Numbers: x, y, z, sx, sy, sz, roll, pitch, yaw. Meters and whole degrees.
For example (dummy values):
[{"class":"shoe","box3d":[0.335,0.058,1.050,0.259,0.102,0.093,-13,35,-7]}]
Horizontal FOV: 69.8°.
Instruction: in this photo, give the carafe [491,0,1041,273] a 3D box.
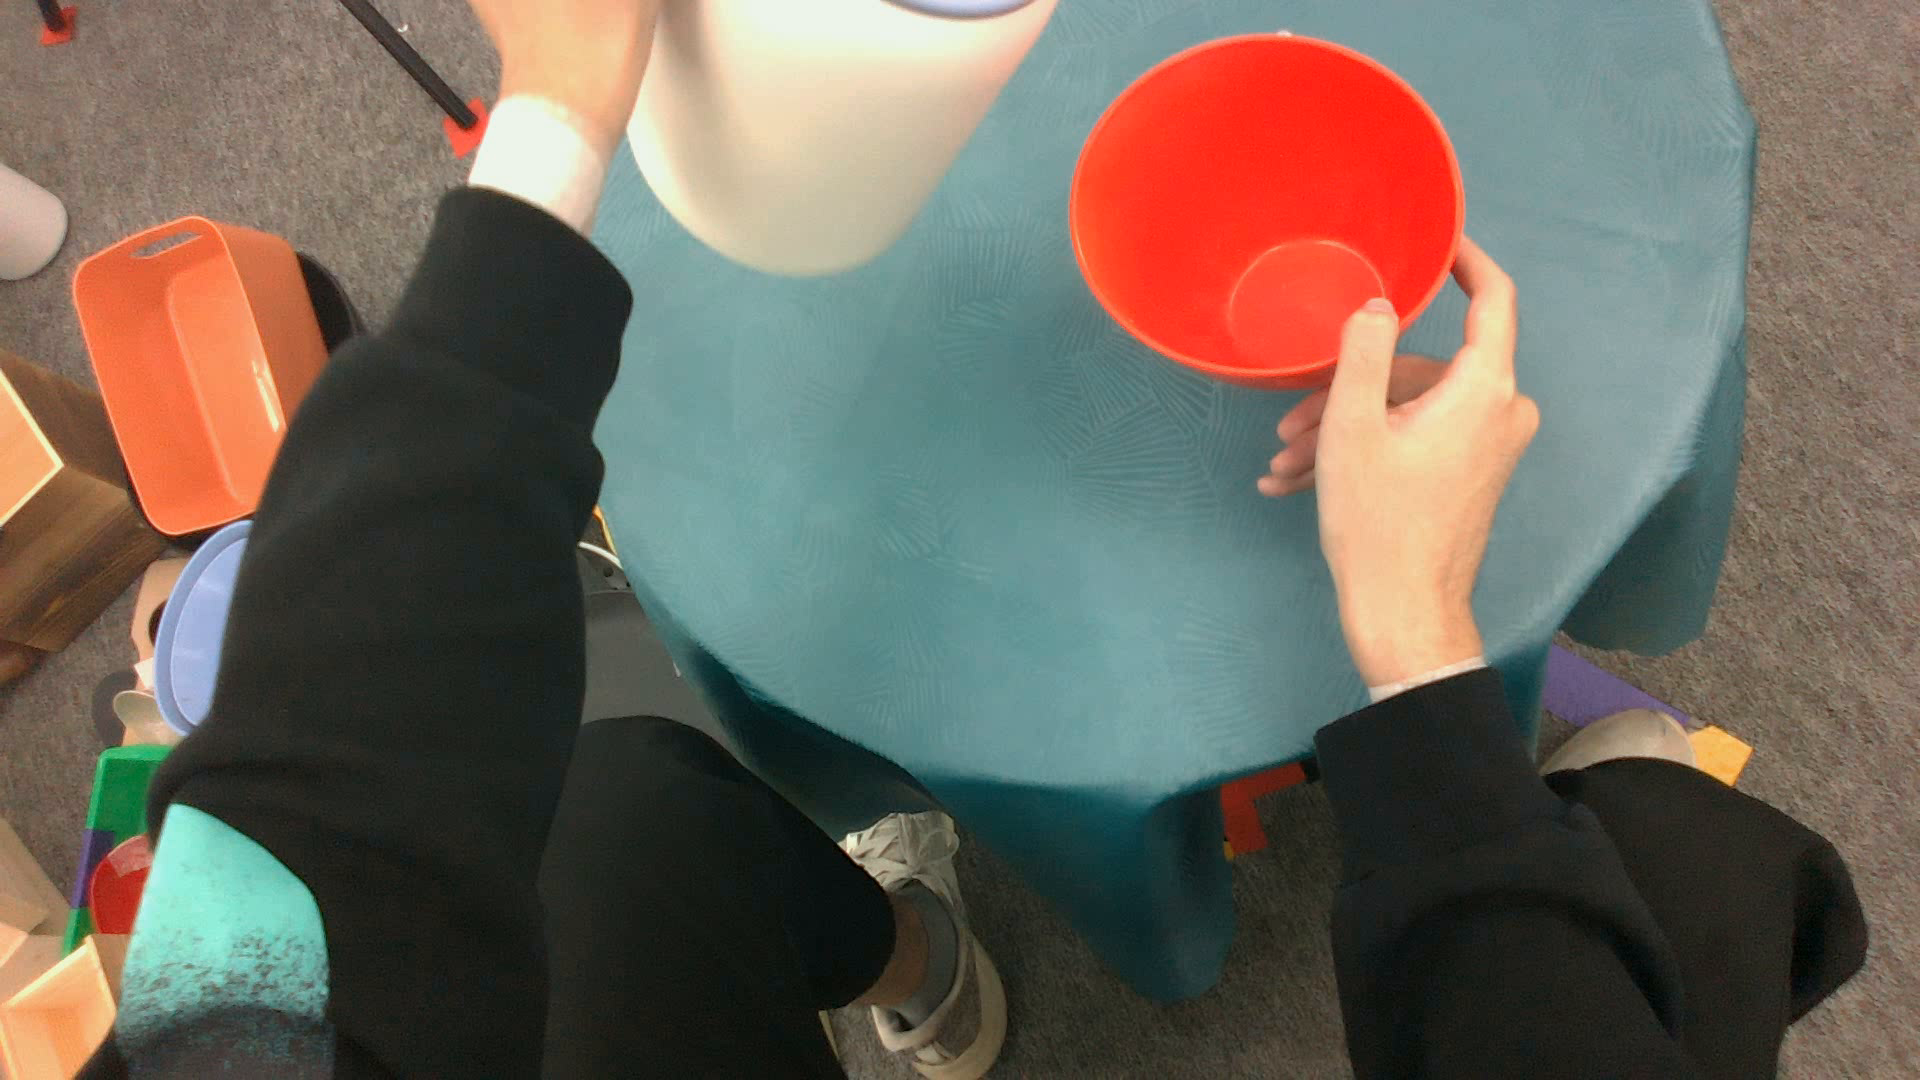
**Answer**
[{"class":"carafe","box3d":[-0.074,-0.200,0.516,0.191,0.181,0.132,5,68,-20]}]

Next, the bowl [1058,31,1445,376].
[{"class":"bowl","box3d":[0.125,-0.125,0.576,0.148,0.104,0.148,-6,68,16]}]
